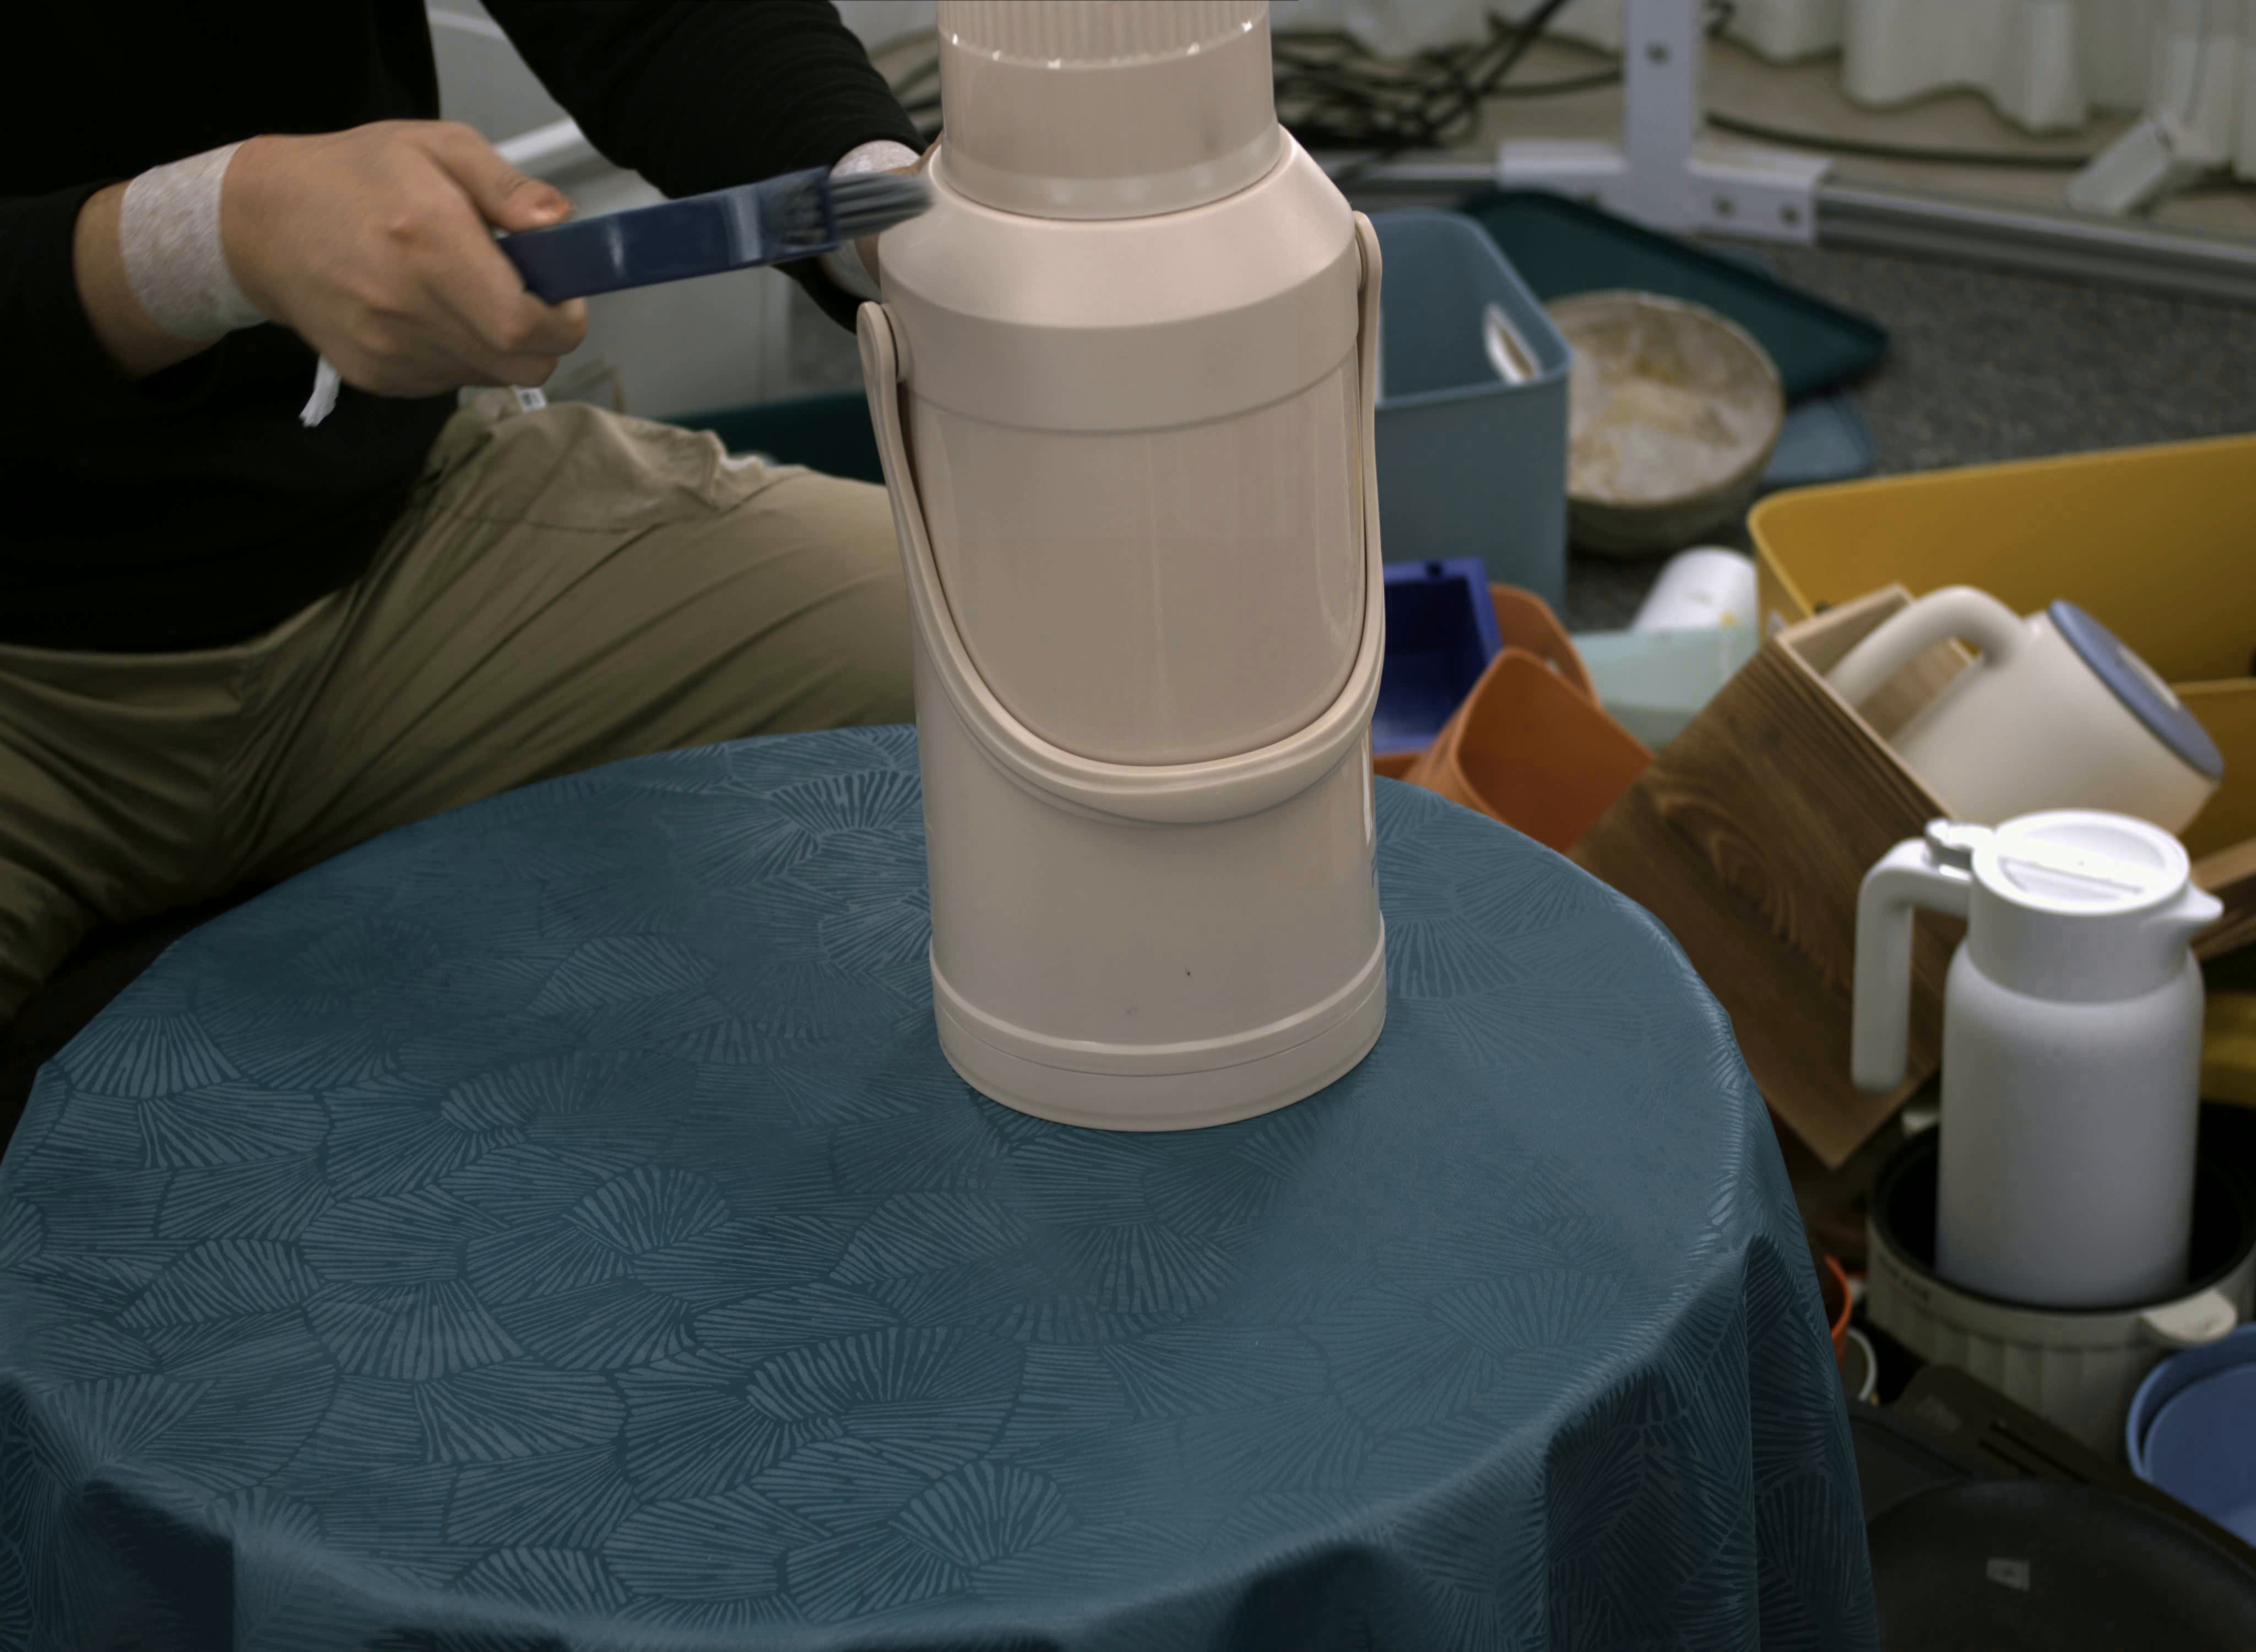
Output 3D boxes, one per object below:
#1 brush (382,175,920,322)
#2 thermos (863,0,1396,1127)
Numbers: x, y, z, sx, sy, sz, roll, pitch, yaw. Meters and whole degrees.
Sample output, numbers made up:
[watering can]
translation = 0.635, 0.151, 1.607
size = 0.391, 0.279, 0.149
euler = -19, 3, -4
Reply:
[brush]
translation = -0.172, -0.187, 1.814
size = 0.270, 0.033, 0.096
euler = -3, 8, 42
[thermos]
translation = 0.000, -0.116, 1.893
size = 0.176, 0.402, 0.209
euler = -13, 28, -16
